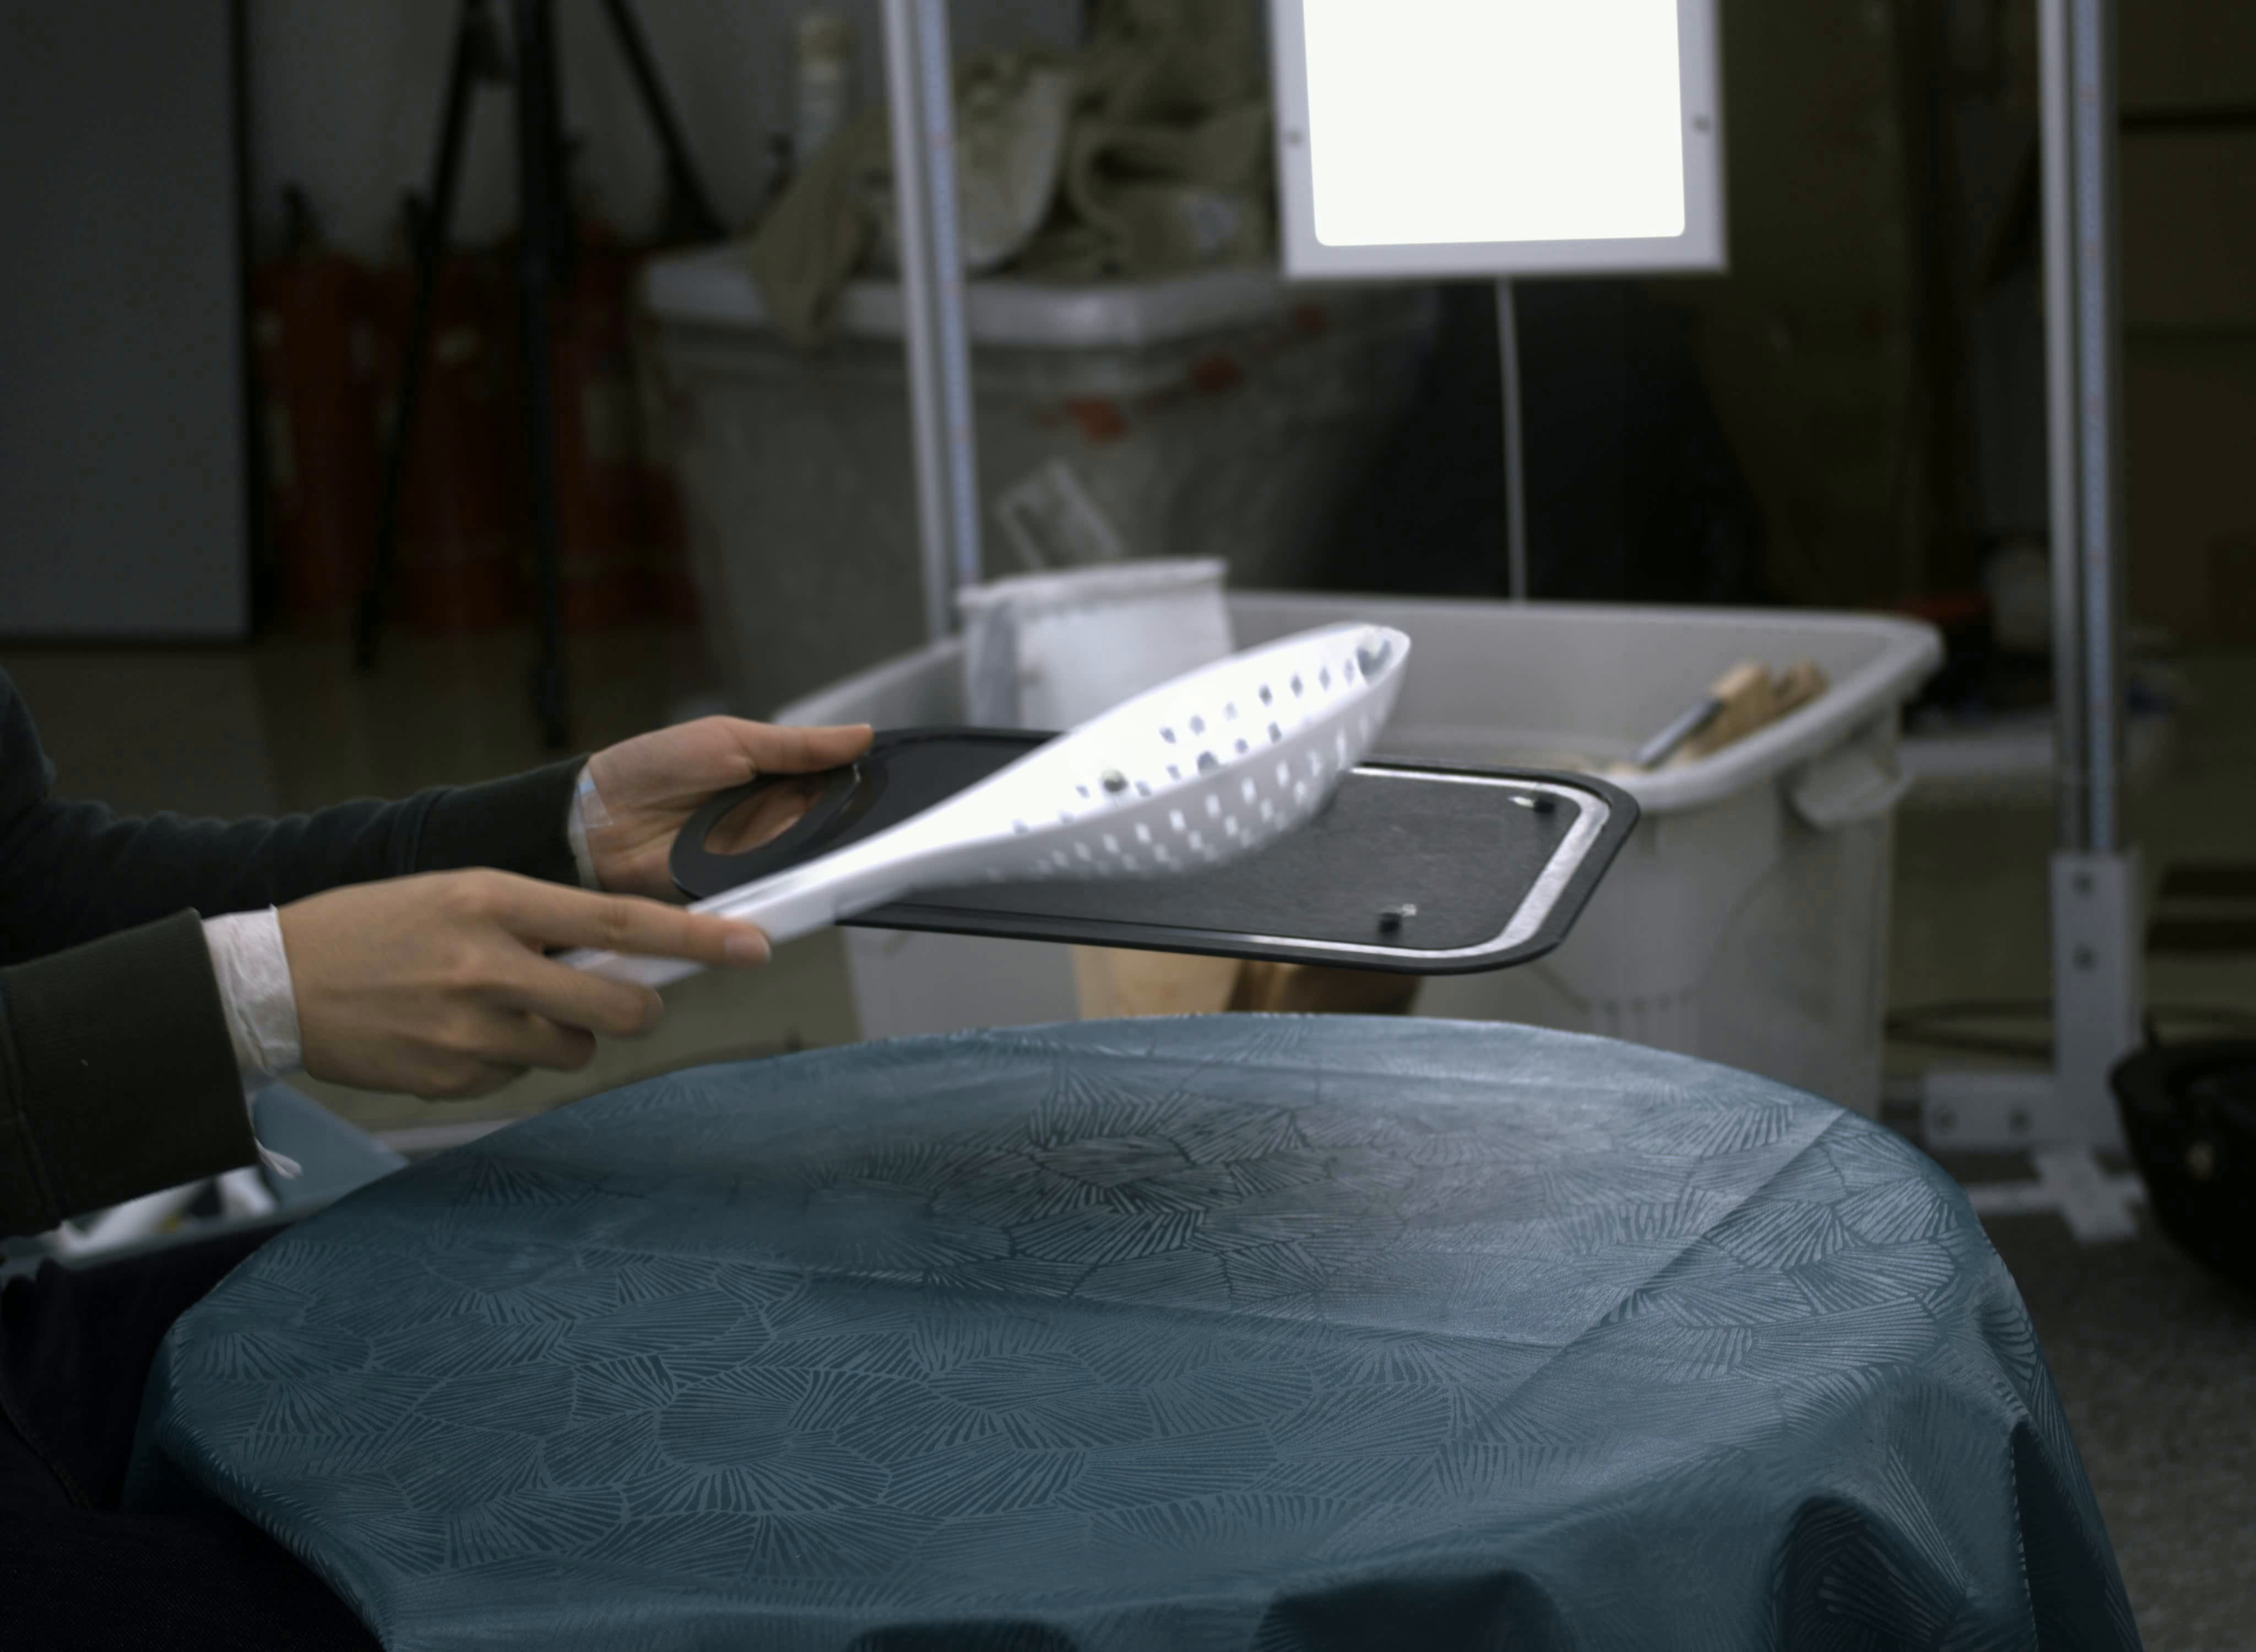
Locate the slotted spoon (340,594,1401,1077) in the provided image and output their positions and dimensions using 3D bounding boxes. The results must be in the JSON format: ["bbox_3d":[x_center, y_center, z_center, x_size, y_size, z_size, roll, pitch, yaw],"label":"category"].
[{"bbox_3d":[-0.078,0.007,1.626,0.353,0.046,0.134,-17,12,15],"label":"slotted spoon"}]

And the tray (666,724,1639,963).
[{"bbox_3d":[0.004,0.002,1.892,0.329,0.010,0.207,4,19,19],"label":"tray"}]
